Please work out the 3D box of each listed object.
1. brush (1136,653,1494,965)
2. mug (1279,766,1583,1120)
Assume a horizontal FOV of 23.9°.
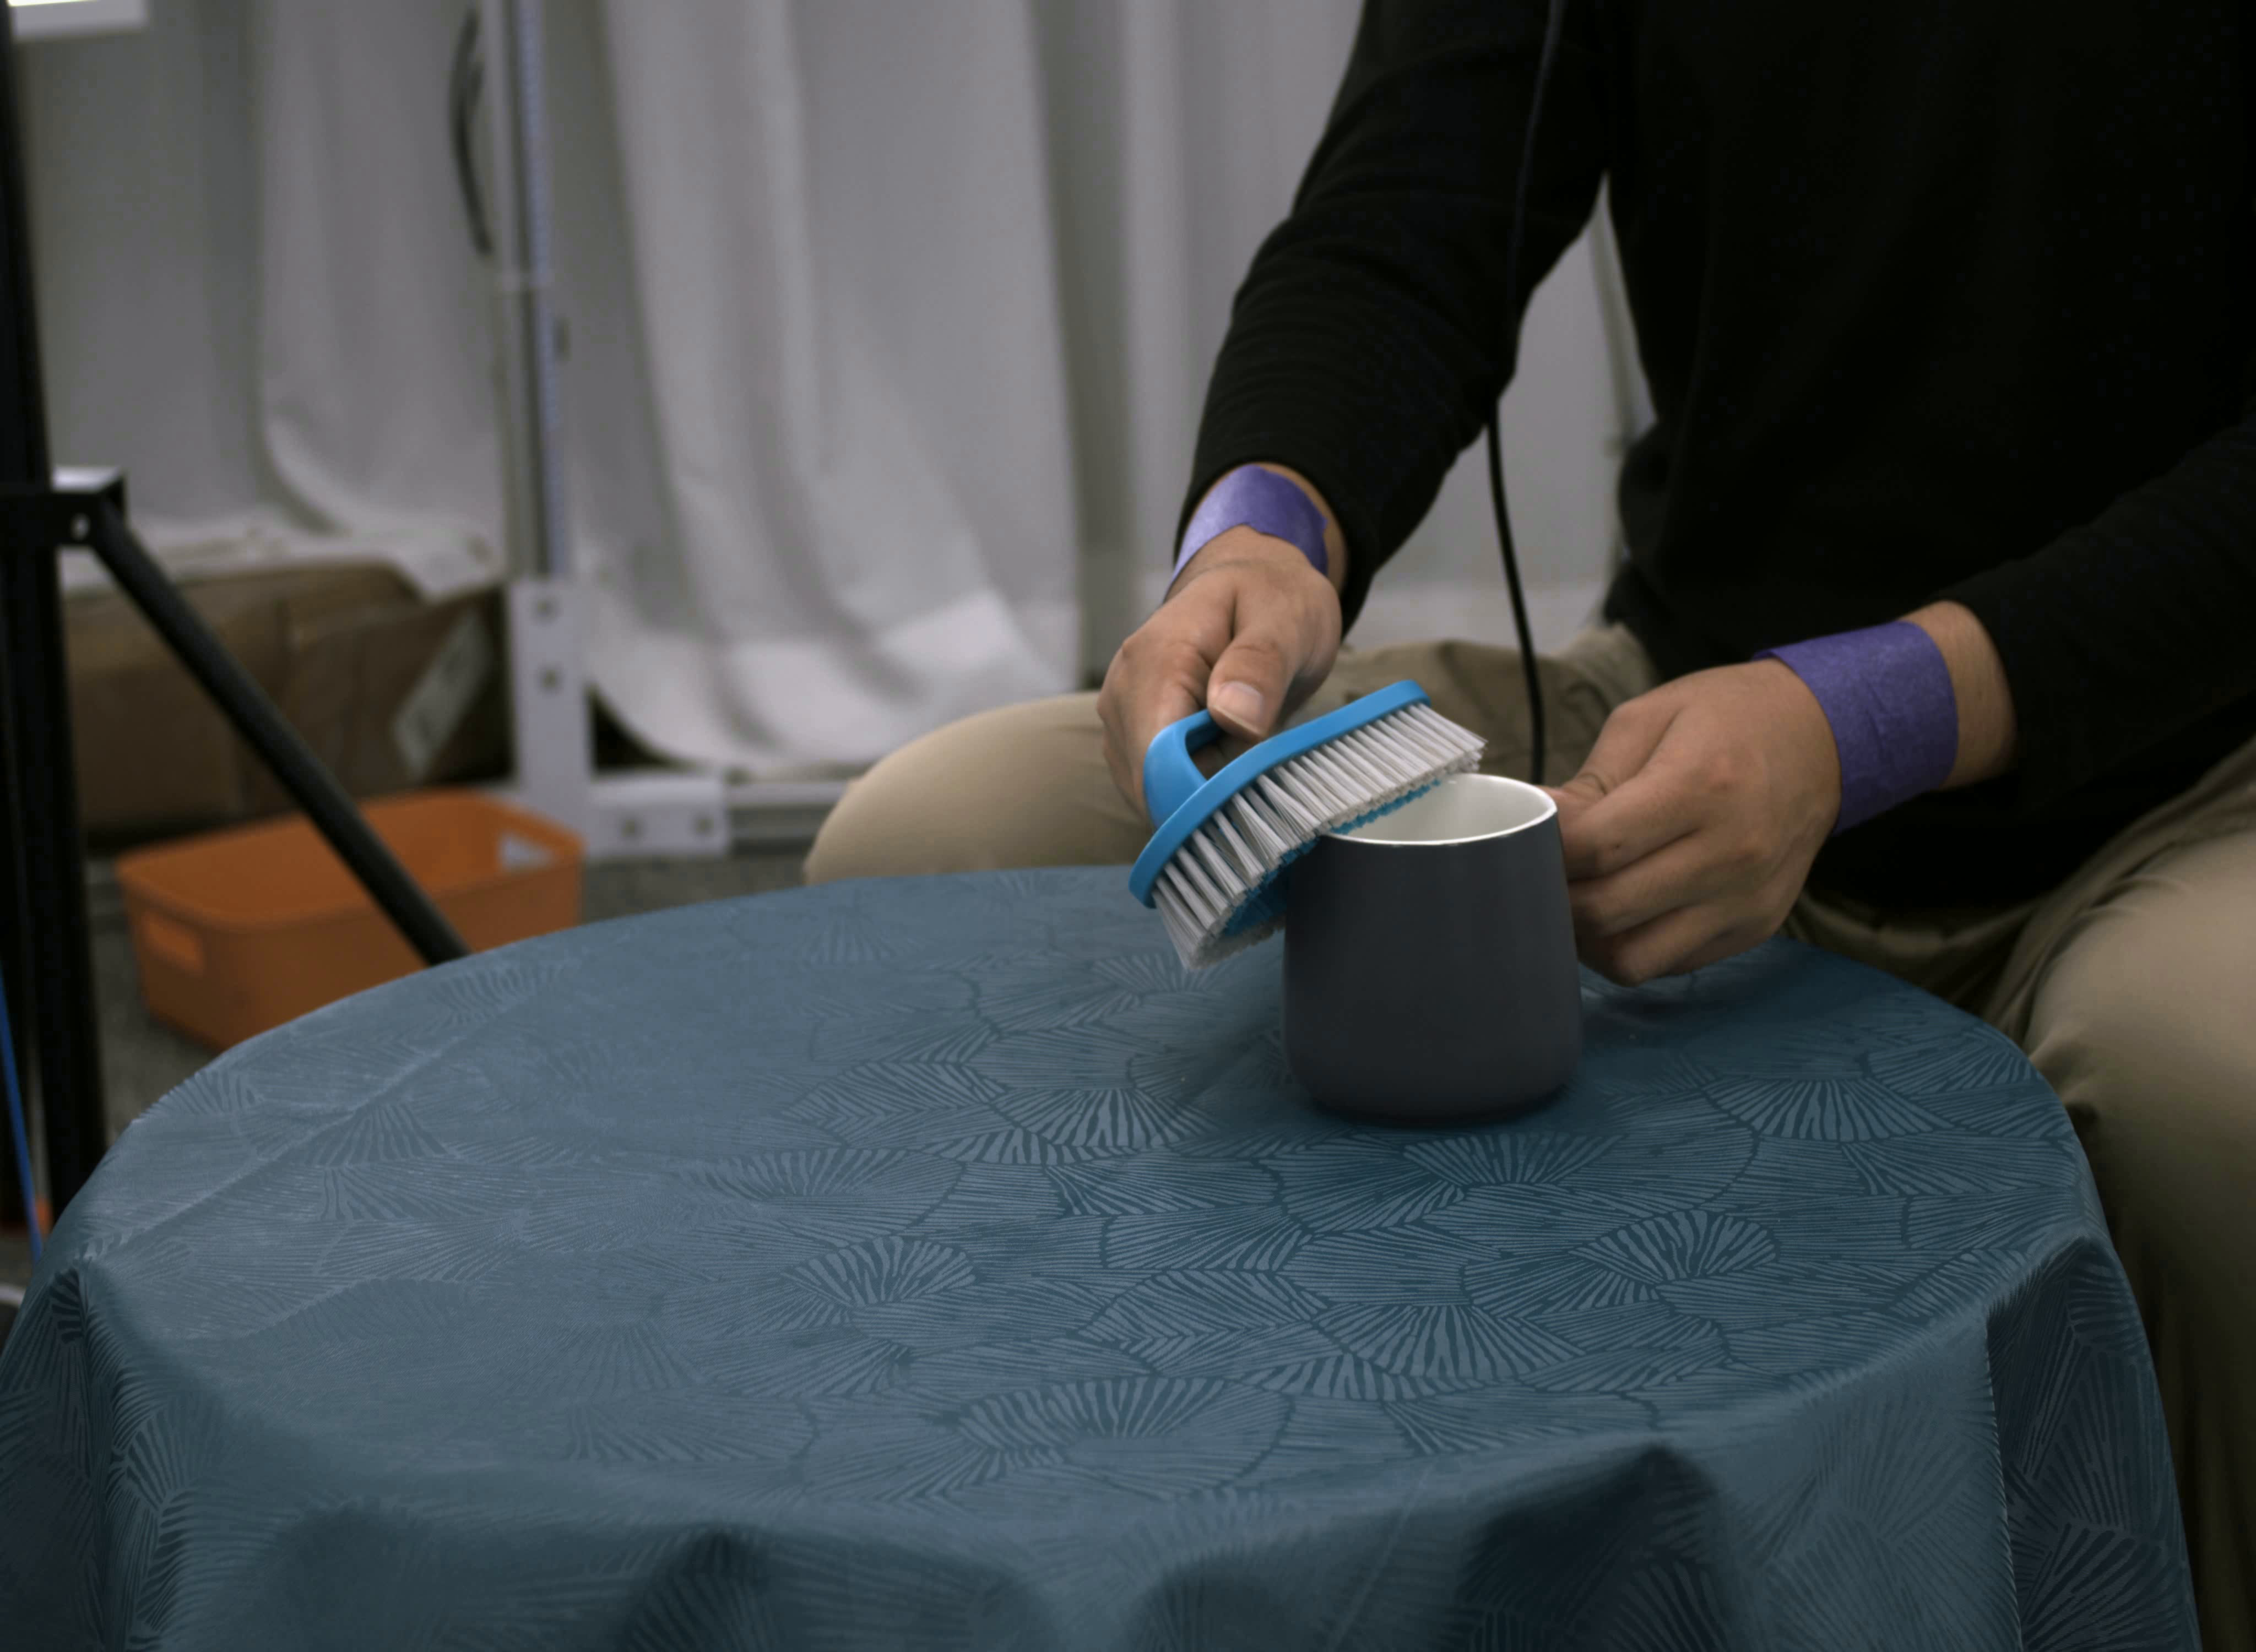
[{"bbox_3d":[0.047,-0.015,1.640,0.064,0.085,0.139,45,38,18],"label":"brush"},{"bbox_3d":[0.102,0.032,1.637,0.095,0.090,0.120,11,22,39],"label":"mug"}]
